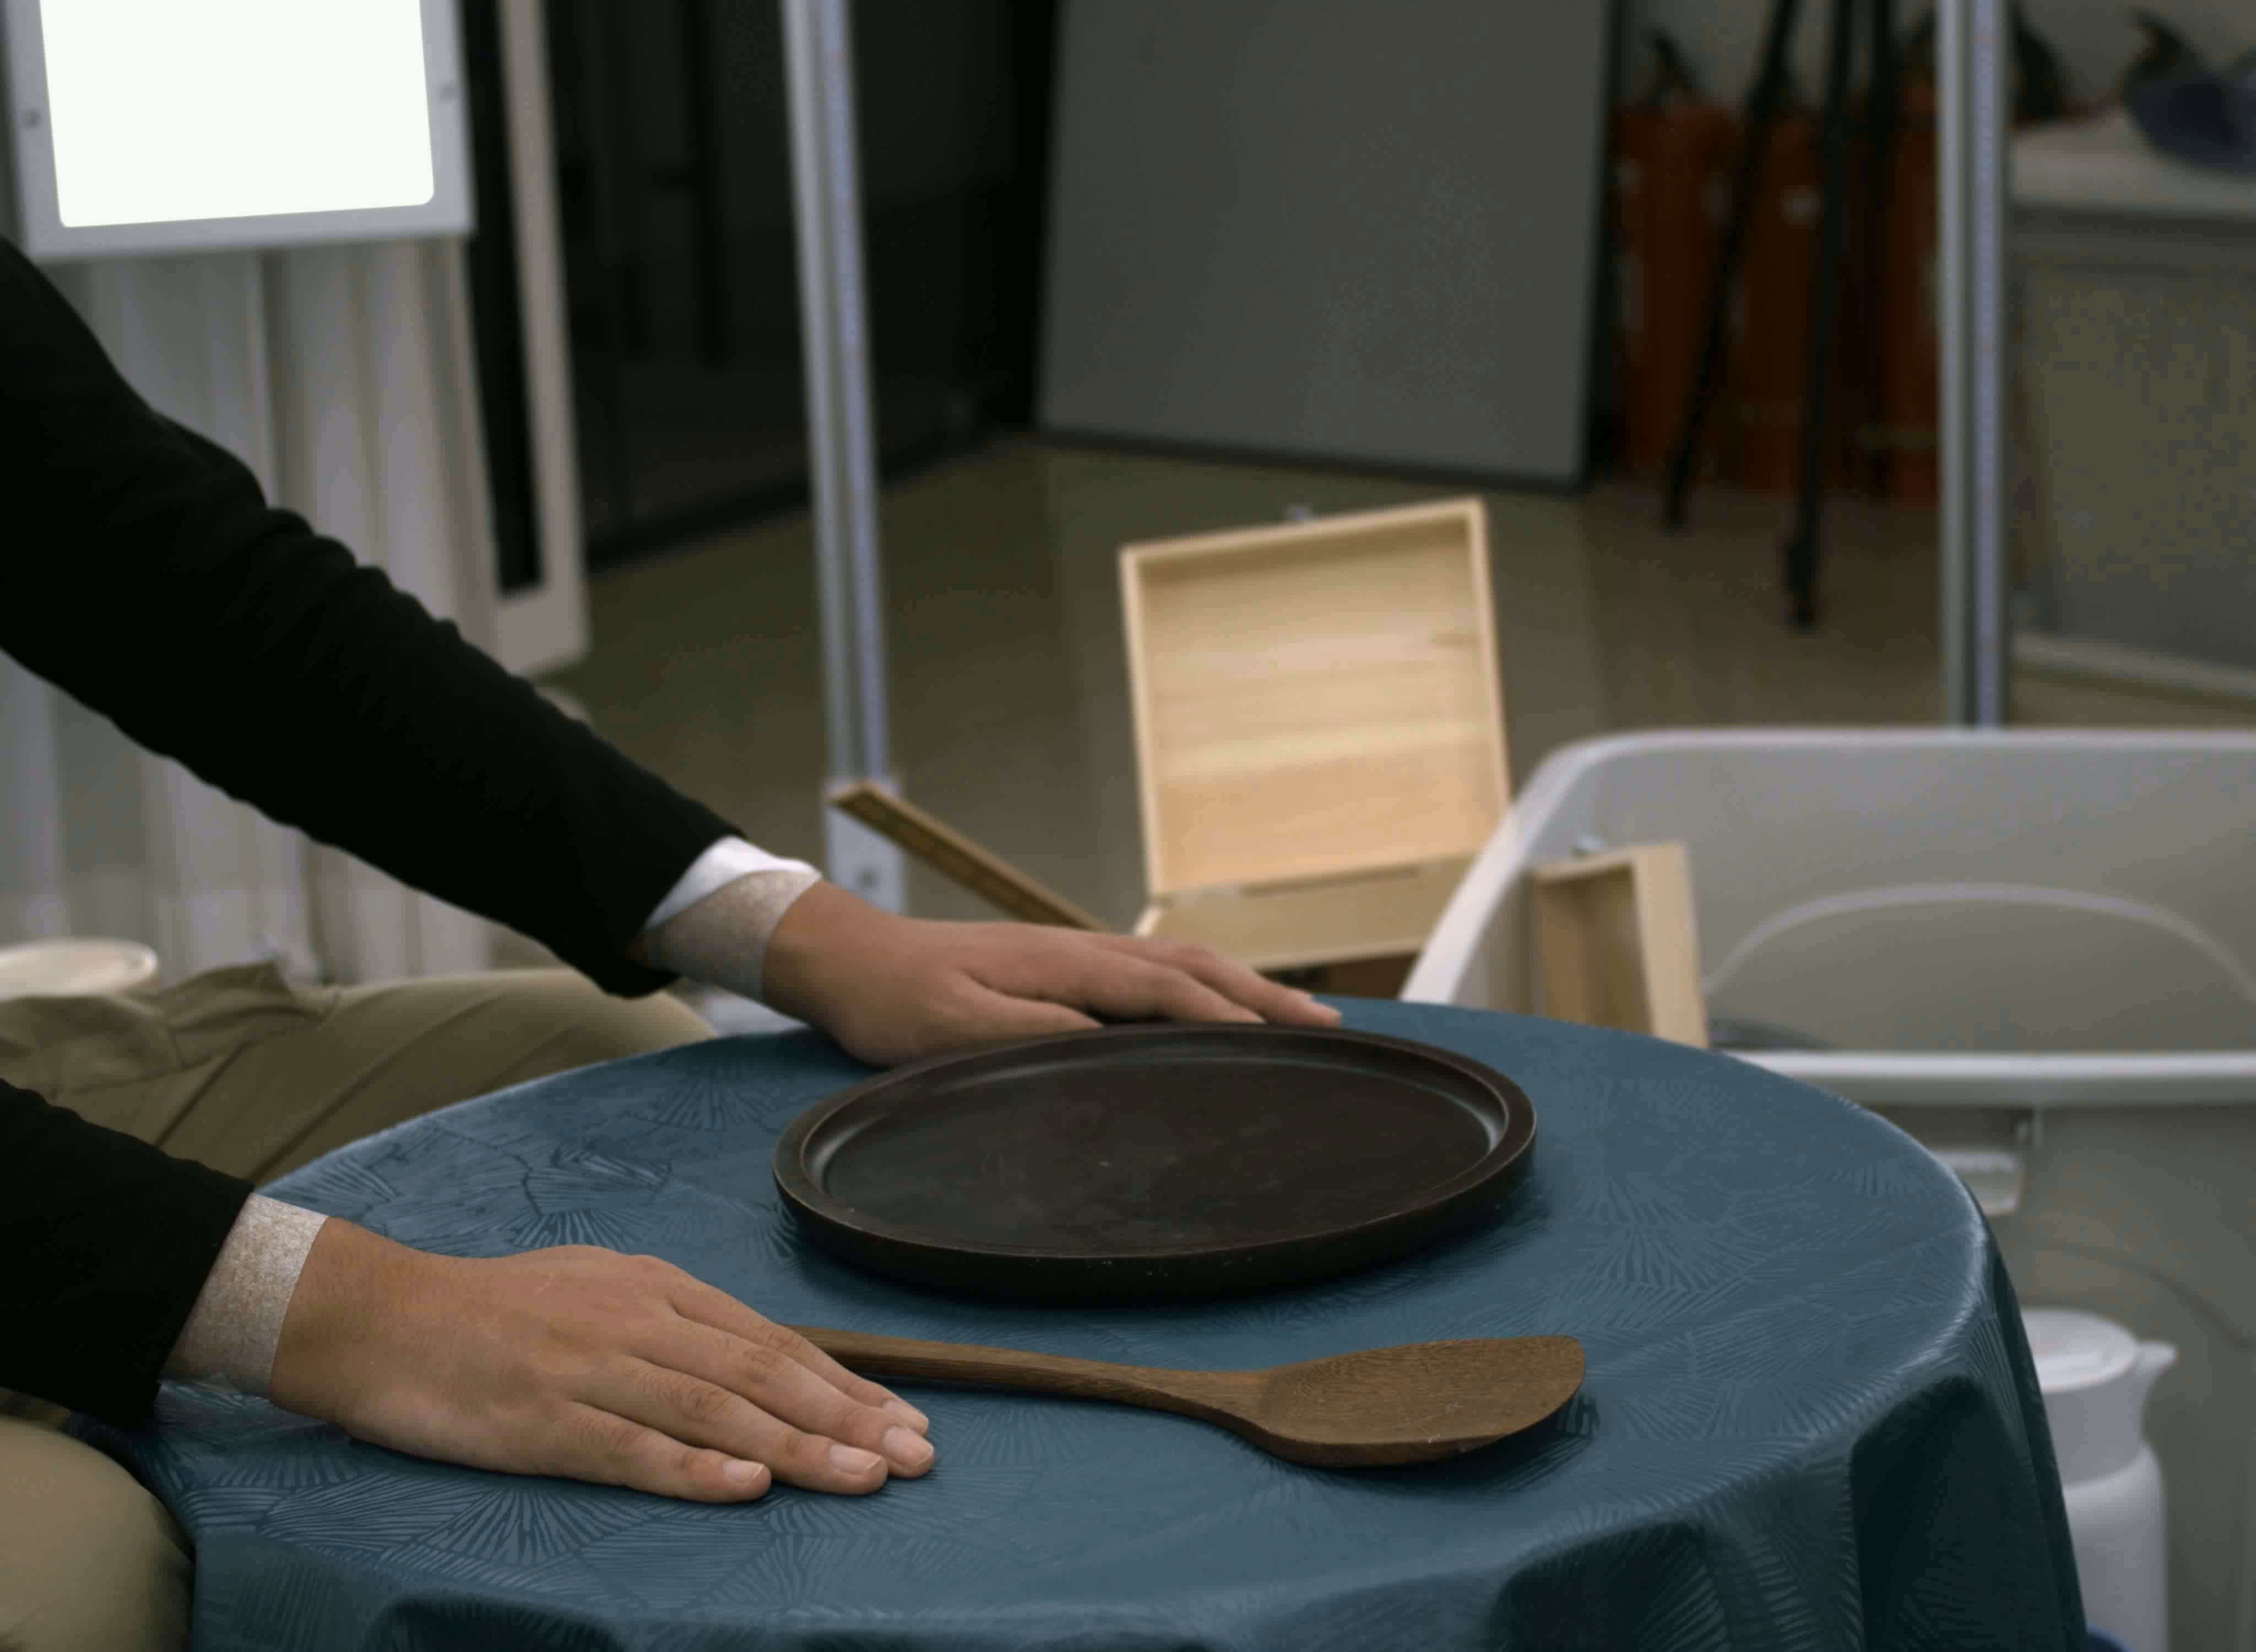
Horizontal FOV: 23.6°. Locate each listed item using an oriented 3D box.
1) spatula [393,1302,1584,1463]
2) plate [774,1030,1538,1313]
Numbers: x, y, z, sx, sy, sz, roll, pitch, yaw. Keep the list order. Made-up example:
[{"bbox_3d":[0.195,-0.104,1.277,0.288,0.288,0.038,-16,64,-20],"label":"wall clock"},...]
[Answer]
[{"bbox_3d":[-0.051,0.160,1.598,0.386,0.016,0.095,2,14,24],"label":"spatula"},{"bbox_3d":[0.010,0.110,1.762,0.251,0.029,0.255,-5,15,0],"label":"plate"}]
